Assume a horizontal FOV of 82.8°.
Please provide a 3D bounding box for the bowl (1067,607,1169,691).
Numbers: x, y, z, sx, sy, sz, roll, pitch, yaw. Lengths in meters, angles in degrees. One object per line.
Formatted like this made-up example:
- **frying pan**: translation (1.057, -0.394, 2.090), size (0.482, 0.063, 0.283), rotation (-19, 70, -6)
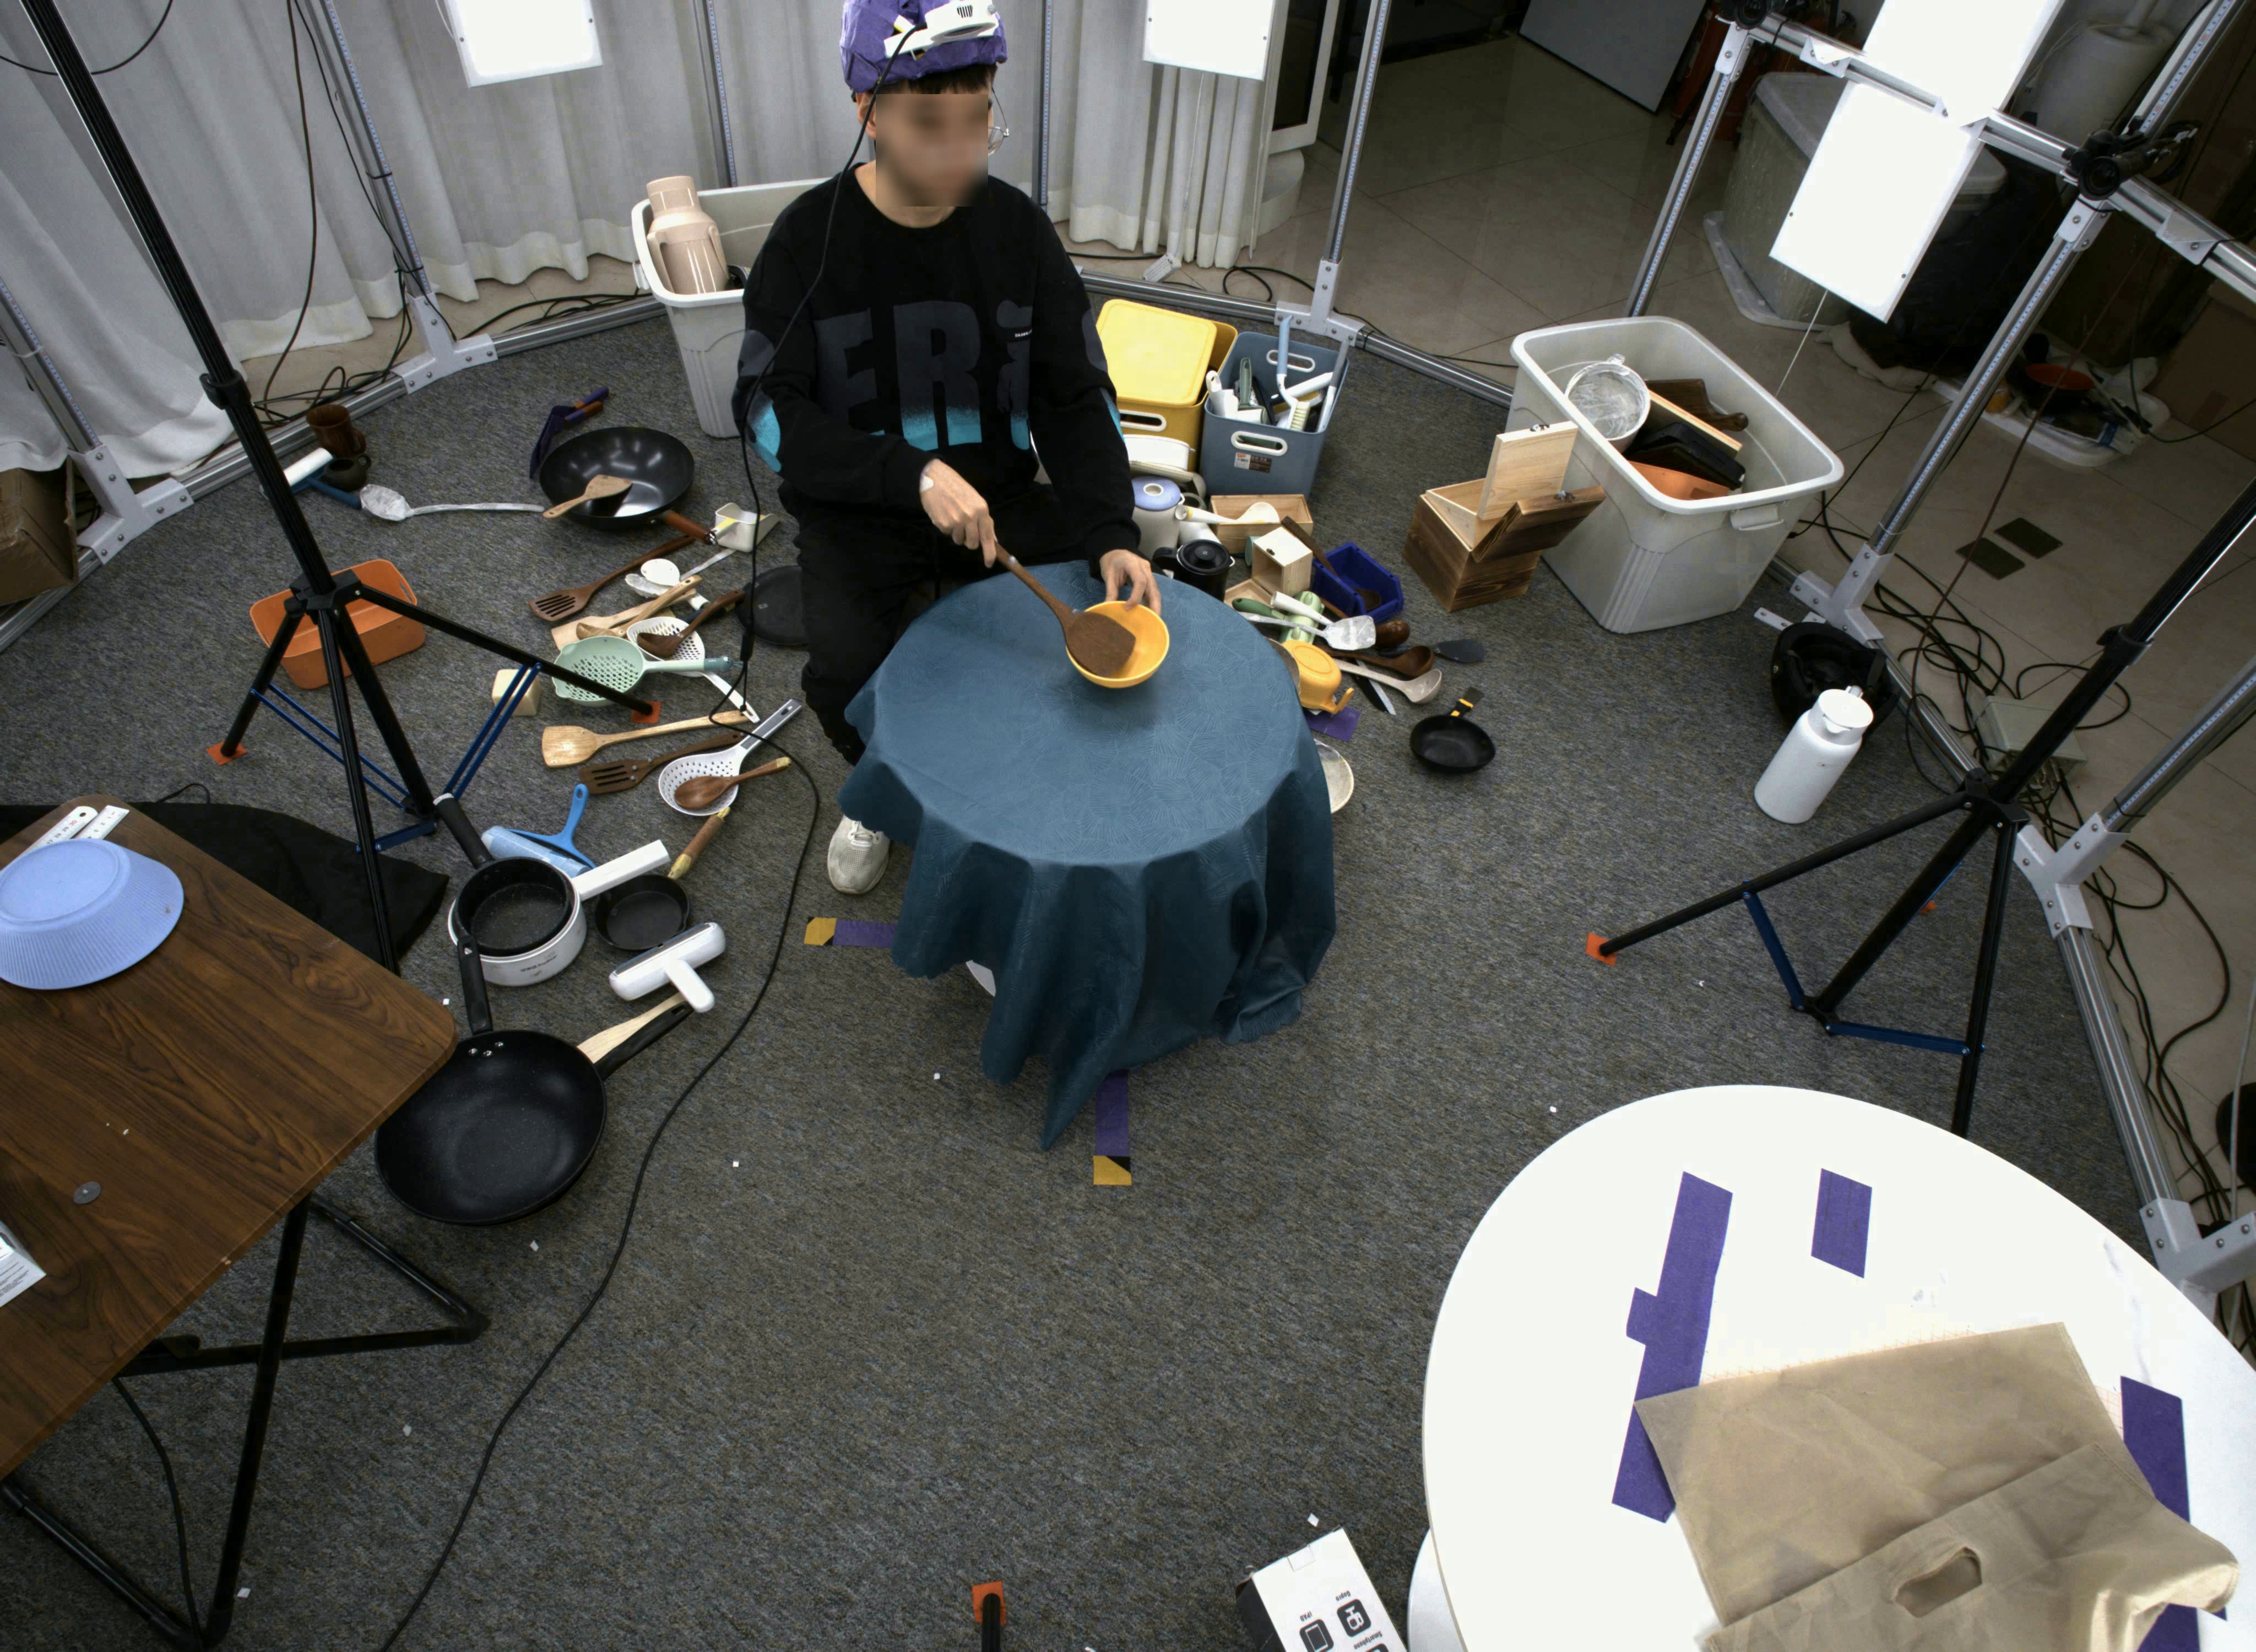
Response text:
- **bowl**: translation (-0.014, -0.242, 1.837), size (0.145, 0.058, 0.149), rotation (0, 54, 0)

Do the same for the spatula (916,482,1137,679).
- **spatula**: translation (-0.147, -0.350, 1.809), size (0.385, 0.015, 0.097), rotation (41, 59, -3)
